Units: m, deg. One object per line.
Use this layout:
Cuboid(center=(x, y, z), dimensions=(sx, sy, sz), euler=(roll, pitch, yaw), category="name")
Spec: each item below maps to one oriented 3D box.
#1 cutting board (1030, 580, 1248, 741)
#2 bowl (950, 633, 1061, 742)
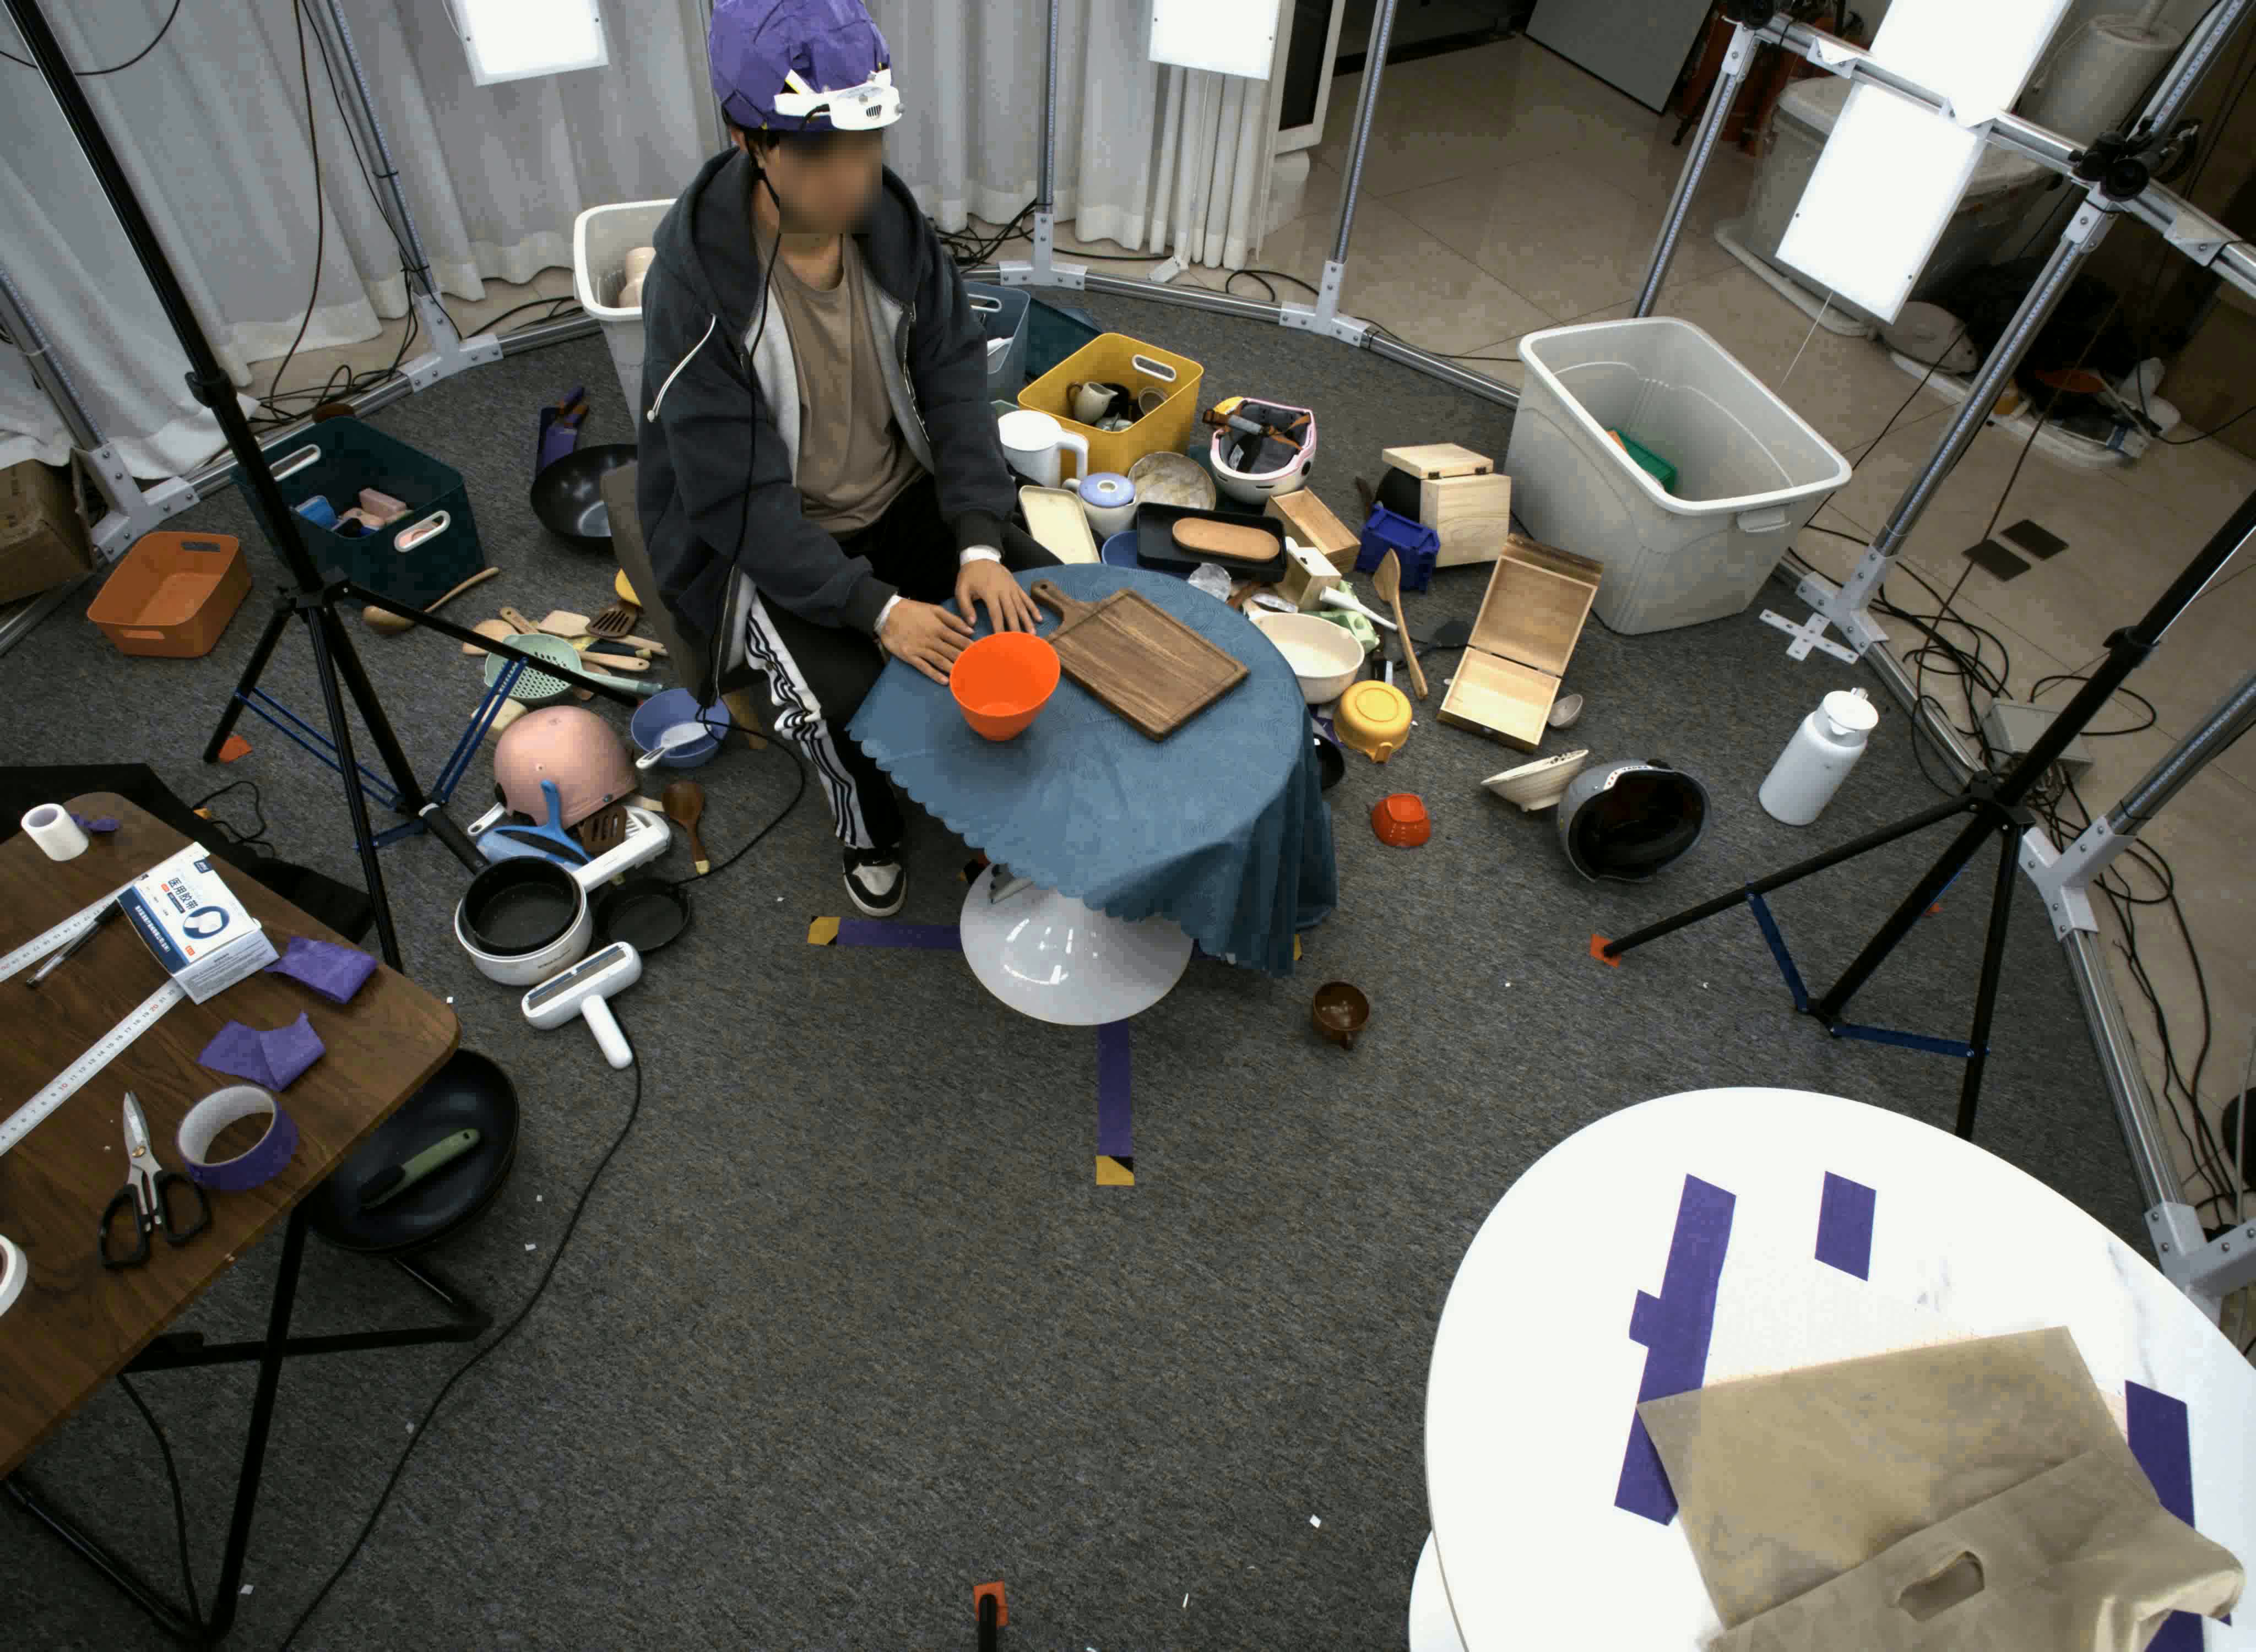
Cuboid(center=(-0.015, -0.268, 1.886), dimensions=(0.357, 0.022, 0.203), euler=(38, 56, 26), category="cutting board")
Cuboid(center=(-0.166, -0.177, 1.744), dimensions=(0.148, 0.102, 0.152), euler=(2, 49, -3), category="bowl")
